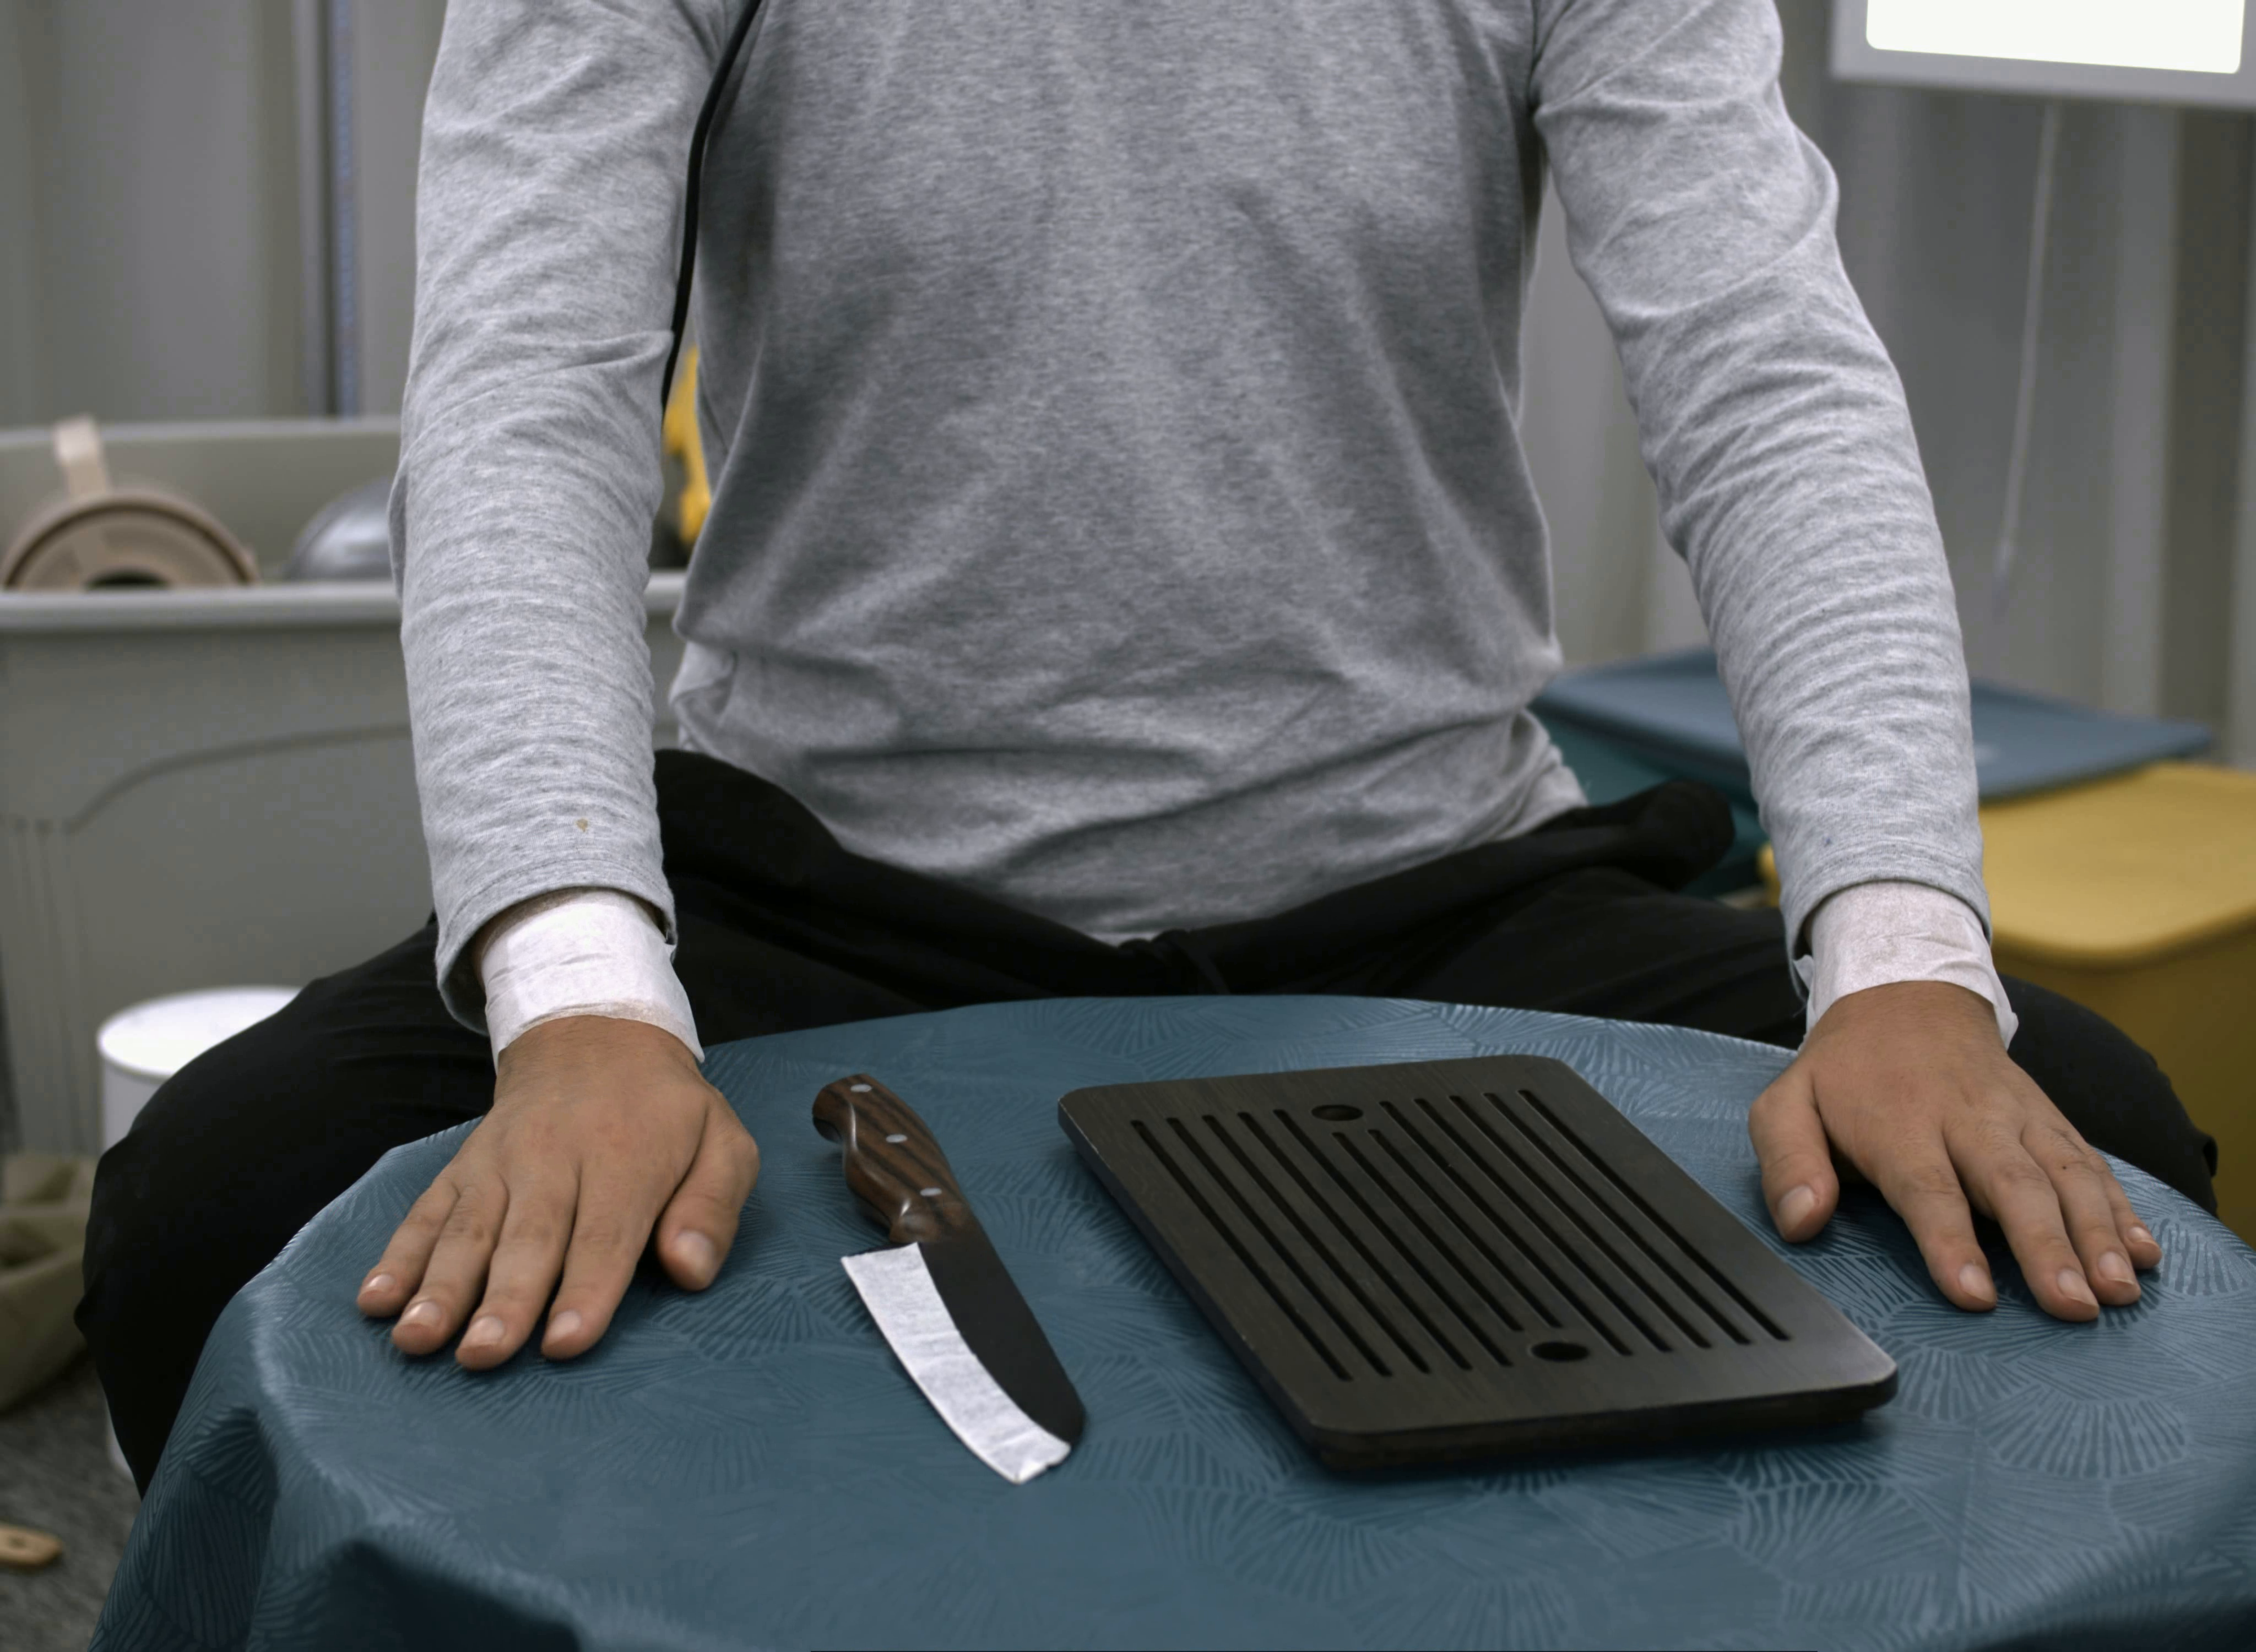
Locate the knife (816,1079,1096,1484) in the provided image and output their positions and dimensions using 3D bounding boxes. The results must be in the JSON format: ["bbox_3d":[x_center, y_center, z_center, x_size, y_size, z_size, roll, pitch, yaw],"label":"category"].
[{"bbox_3d":[-0.055,0.131,1.529,0.050,0.020,0.286,-7,19,-11],"label":"knife"}]

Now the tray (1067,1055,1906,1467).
[{"bbox_3d":[0.097,0.124,1.553,0.170,0.019,0.303,-4,15,-14],"label":"tray"}]
